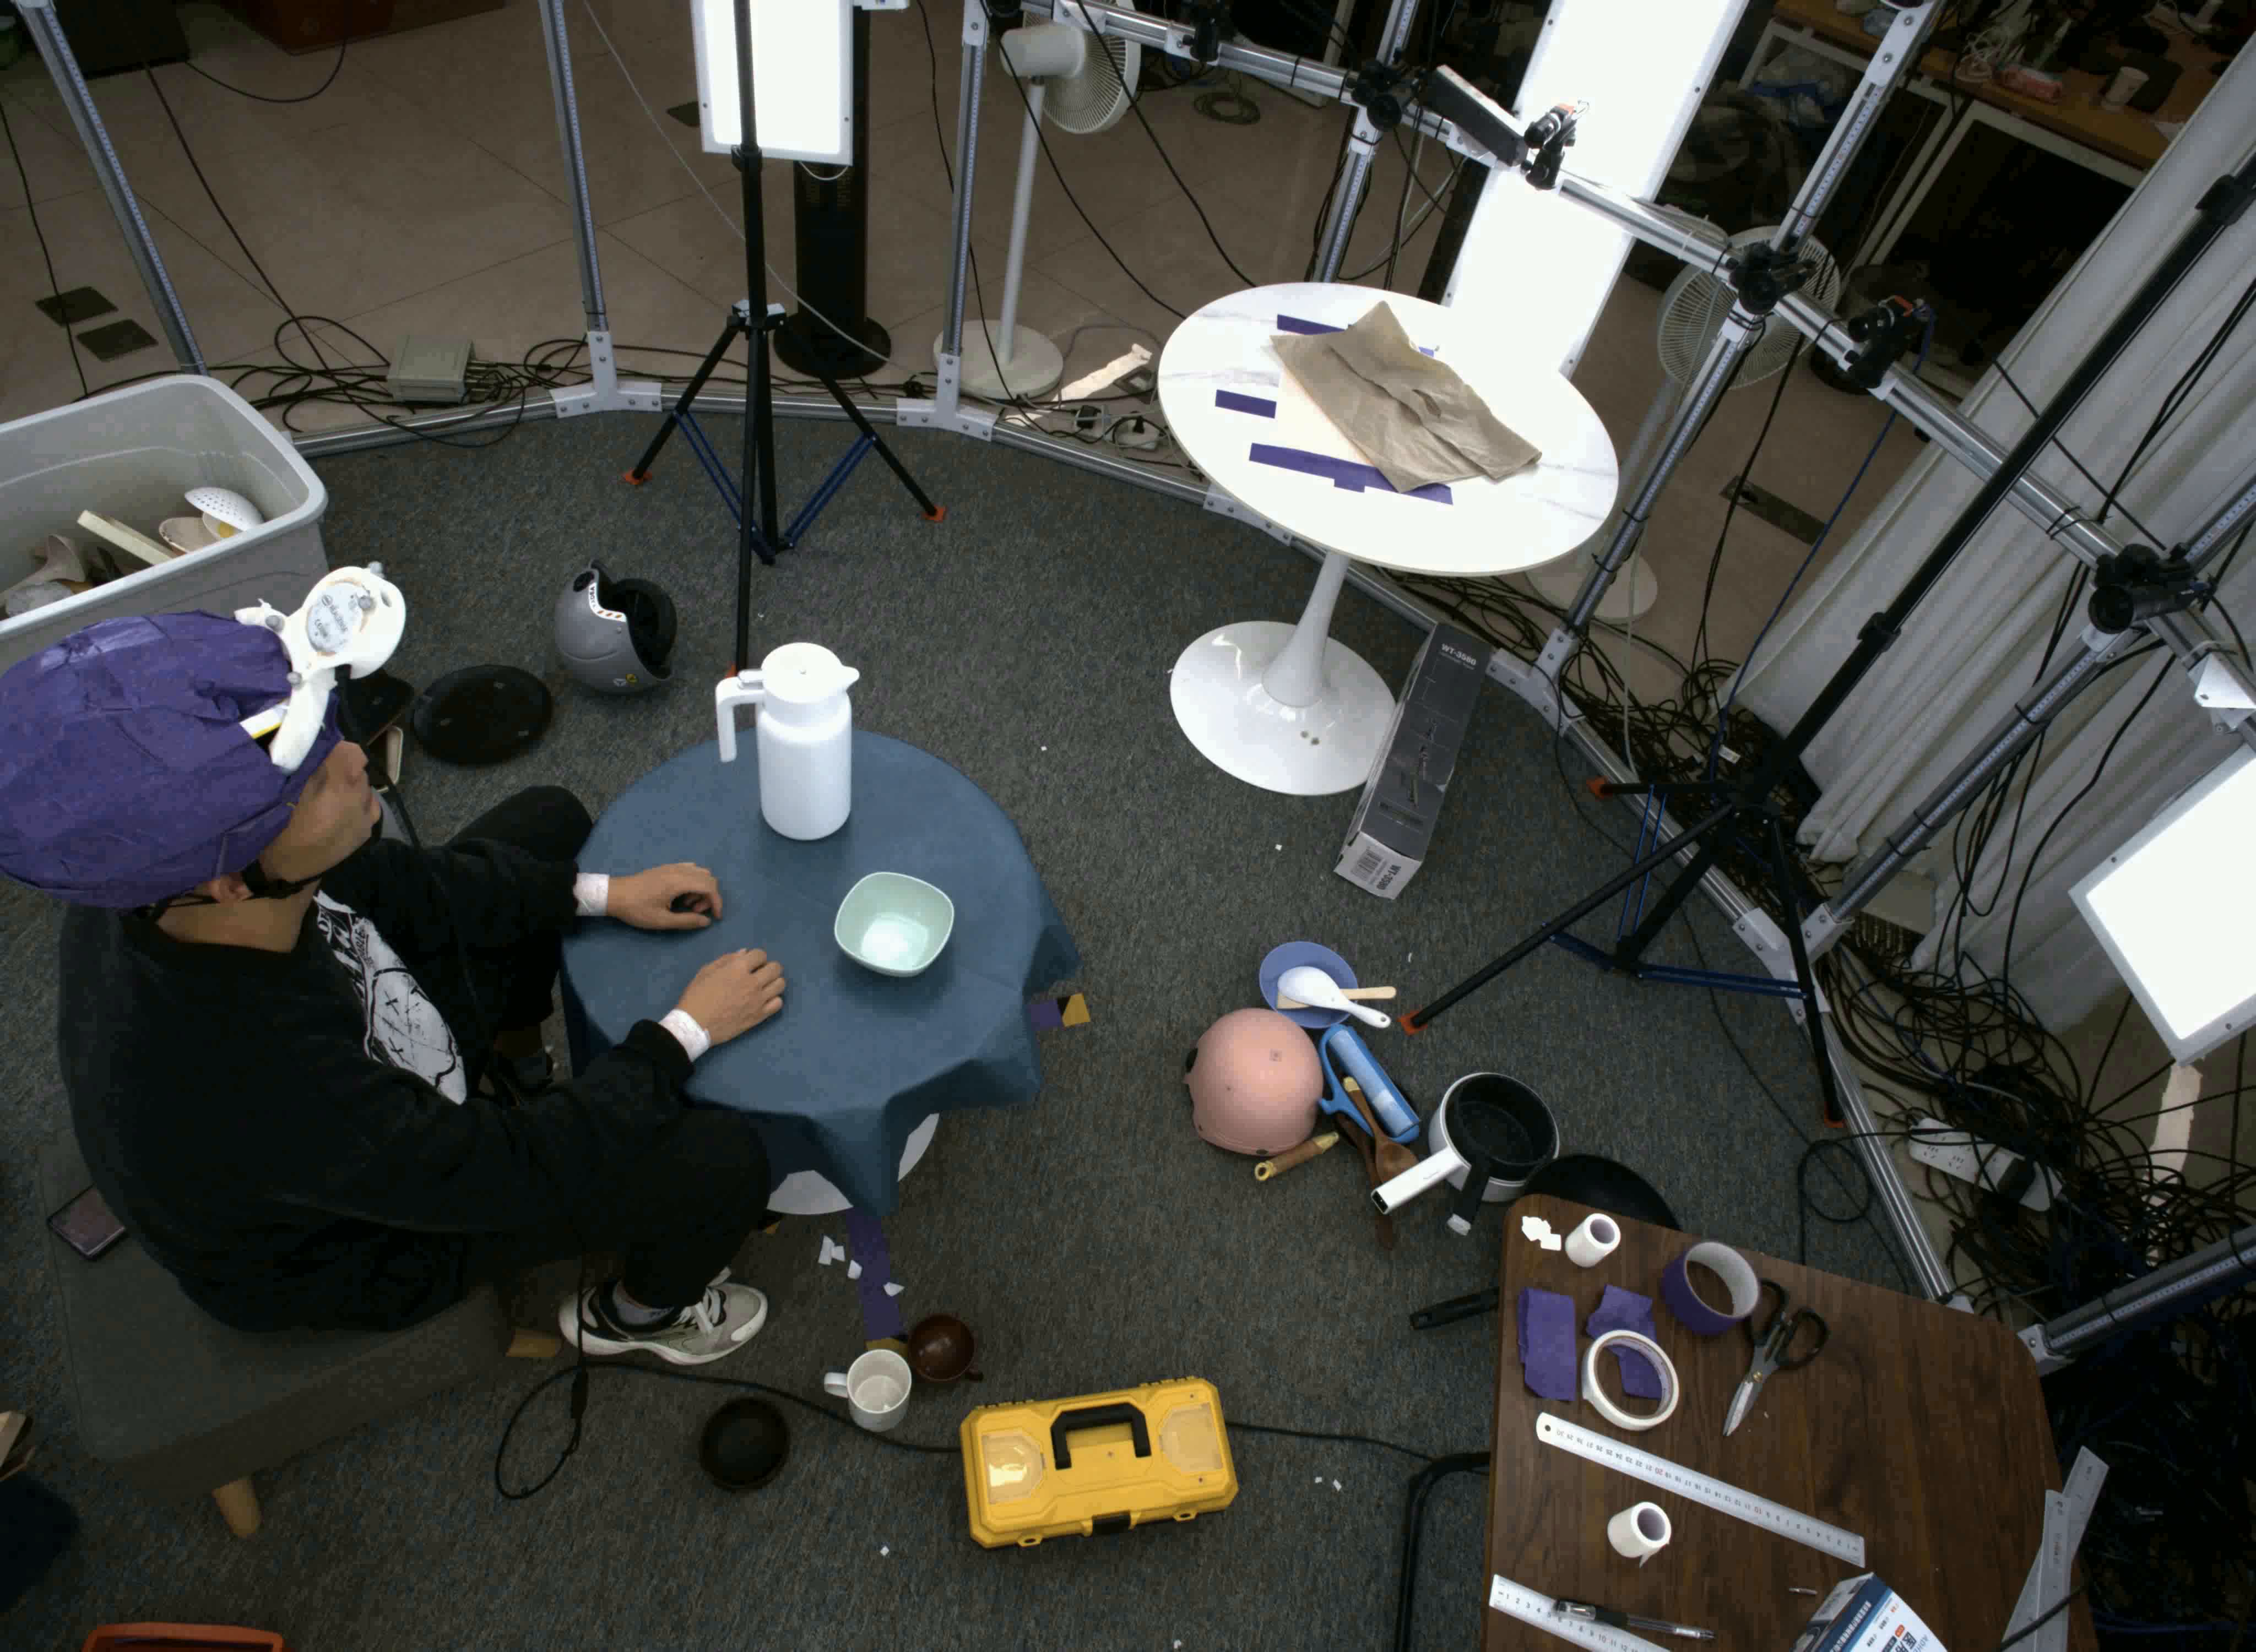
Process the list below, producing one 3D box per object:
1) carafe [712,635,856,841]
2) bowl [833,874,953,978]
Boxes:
[{"bbox_3d":[-0.427,-0.104,1.626,0.173,0.274,0.121,-8,56,-18],"label":"carafe"},{"bbox_3d":[-0.293,0.133,1.621,0.151,0.060,0.149,8,52,-8],"label":"bowl"}]
